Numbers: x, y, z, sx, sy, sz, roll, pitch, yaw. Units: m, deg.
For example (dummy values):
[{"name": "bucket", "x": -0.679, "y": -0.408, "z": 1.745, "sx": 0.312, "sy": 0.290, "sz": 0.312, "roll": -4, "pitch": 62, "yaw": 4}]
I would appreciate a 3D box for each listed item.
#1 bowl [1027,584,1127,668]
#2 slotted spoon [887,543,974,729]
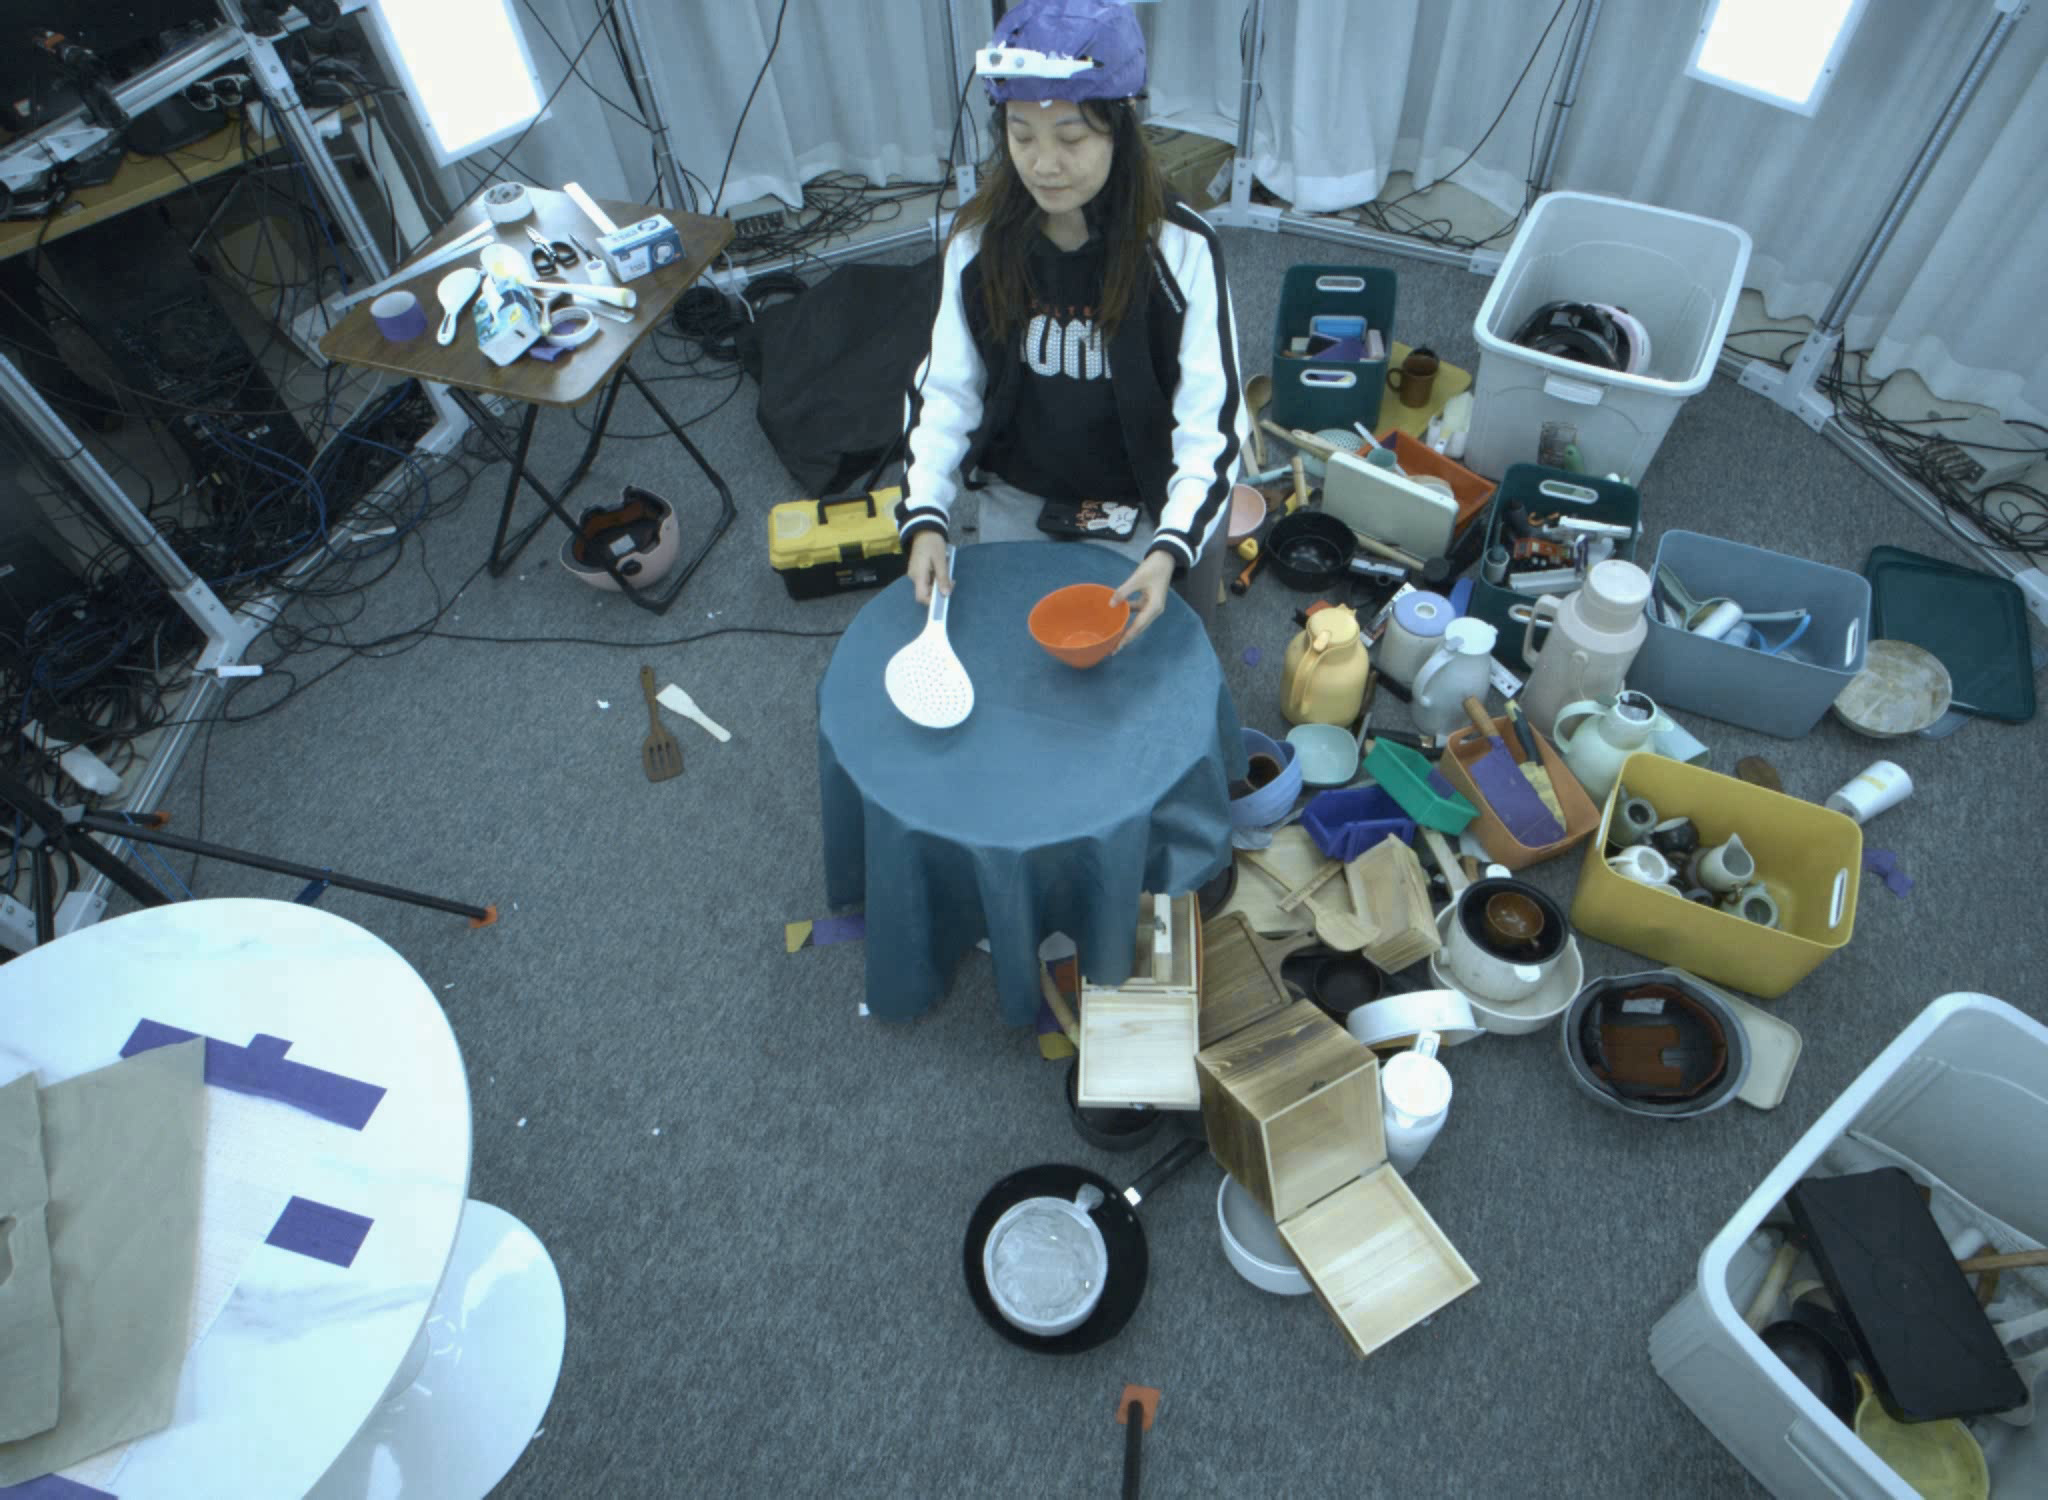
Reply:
[{"name": "bowl", "x": 0.083, "y": -0.170, "z": 1.810, "sx": 0.147, "sy": 0.106, "sz": 0.146, "roll": -5, "pitch": 53, "yaw": 8}, {"name": "slotted spoon", "x": -0.133, "y": -0.177, "z": 1.853, "sx": 0.138, "sy": 0.045, "sz": 0.347, "roll": 17, "pitch": 60, "yaw": -21}]
